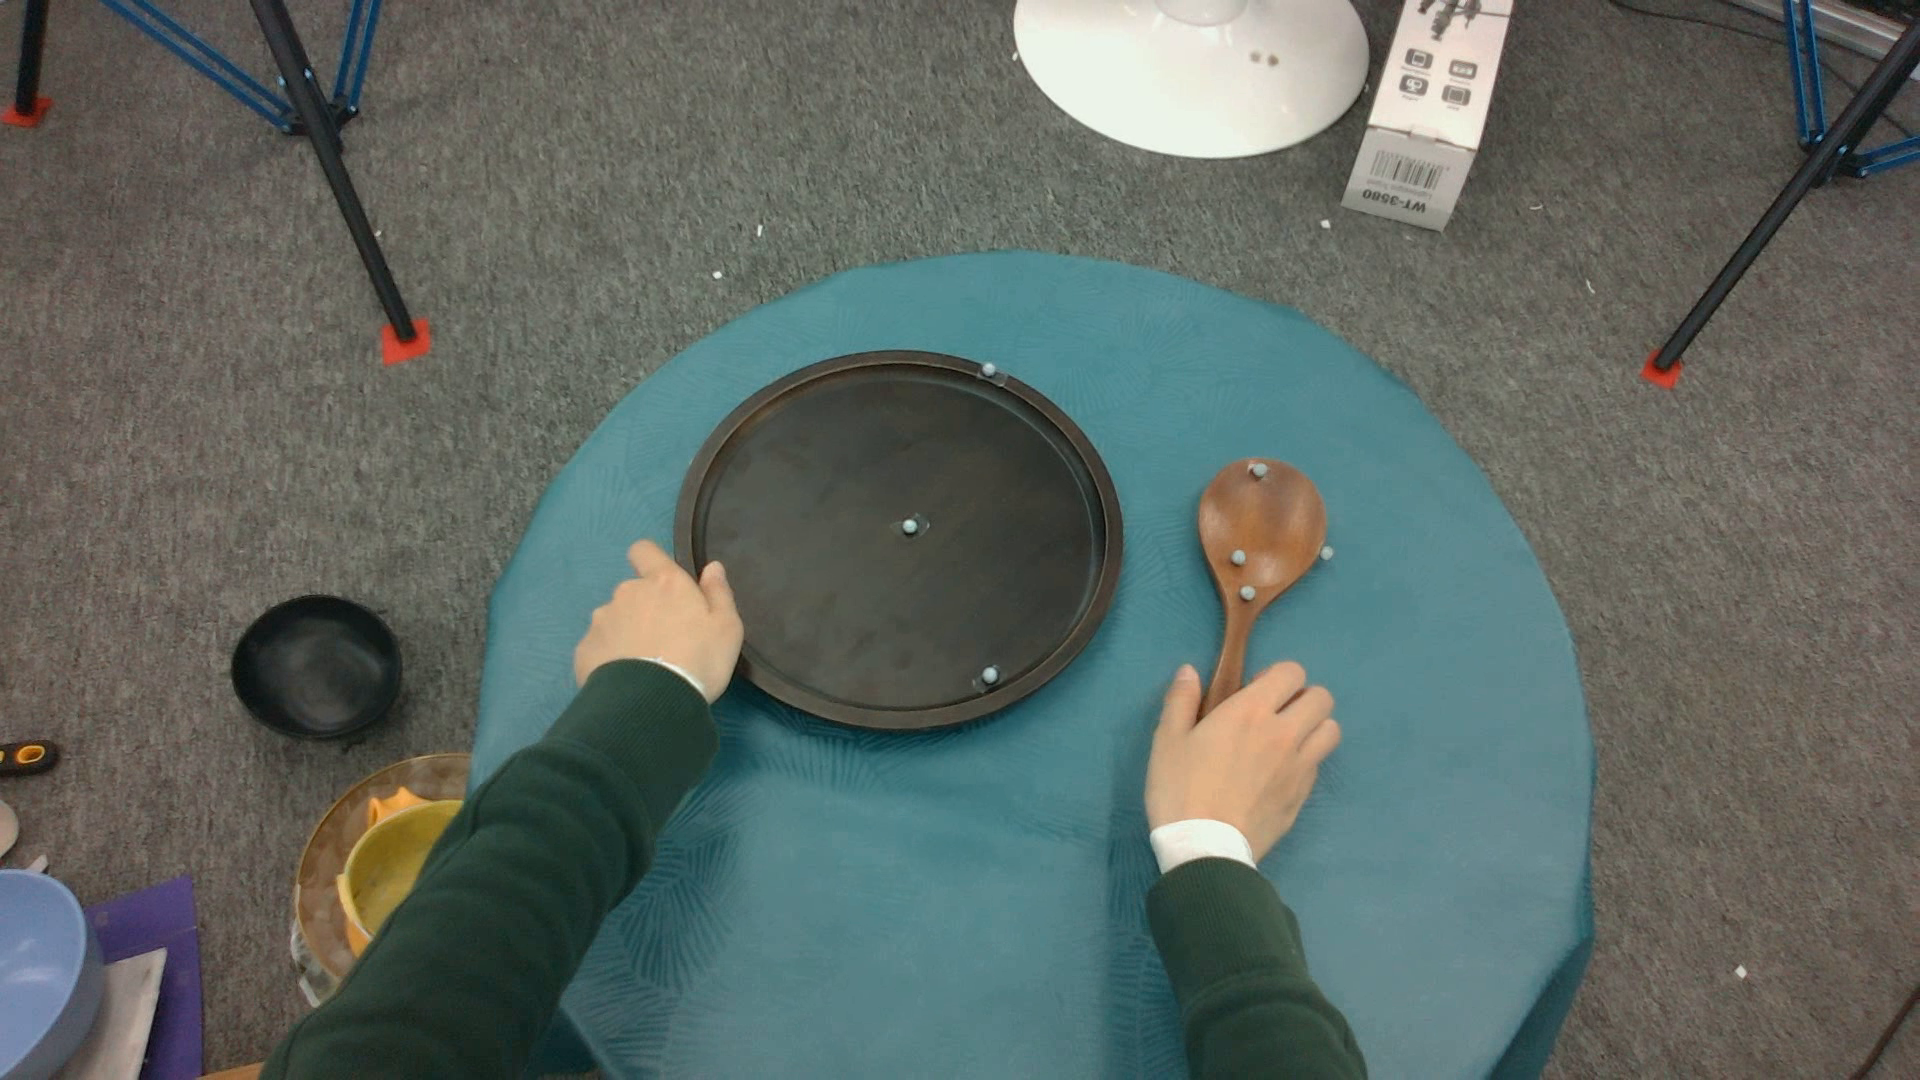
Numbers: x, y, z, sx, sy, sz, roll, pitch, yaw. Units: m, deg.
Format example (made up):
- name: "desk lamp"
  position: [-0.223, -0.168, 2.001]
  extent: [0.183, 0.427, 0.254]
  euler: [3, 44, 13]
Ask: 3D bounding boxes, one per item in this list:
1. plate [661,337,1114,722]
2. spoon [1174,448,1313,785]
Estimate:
- name: "plate"
  position: [-0.040, -0.012, 0.778]
  extent: [0.255, 0.029, 0.256]
  euler: [2, 56, -2]
- name: "spoon"
  position: [0.149, 0.037, 0.763]
  extent: [0.075, 0.017, 0.217]
  euler: [16, 58, 5]
